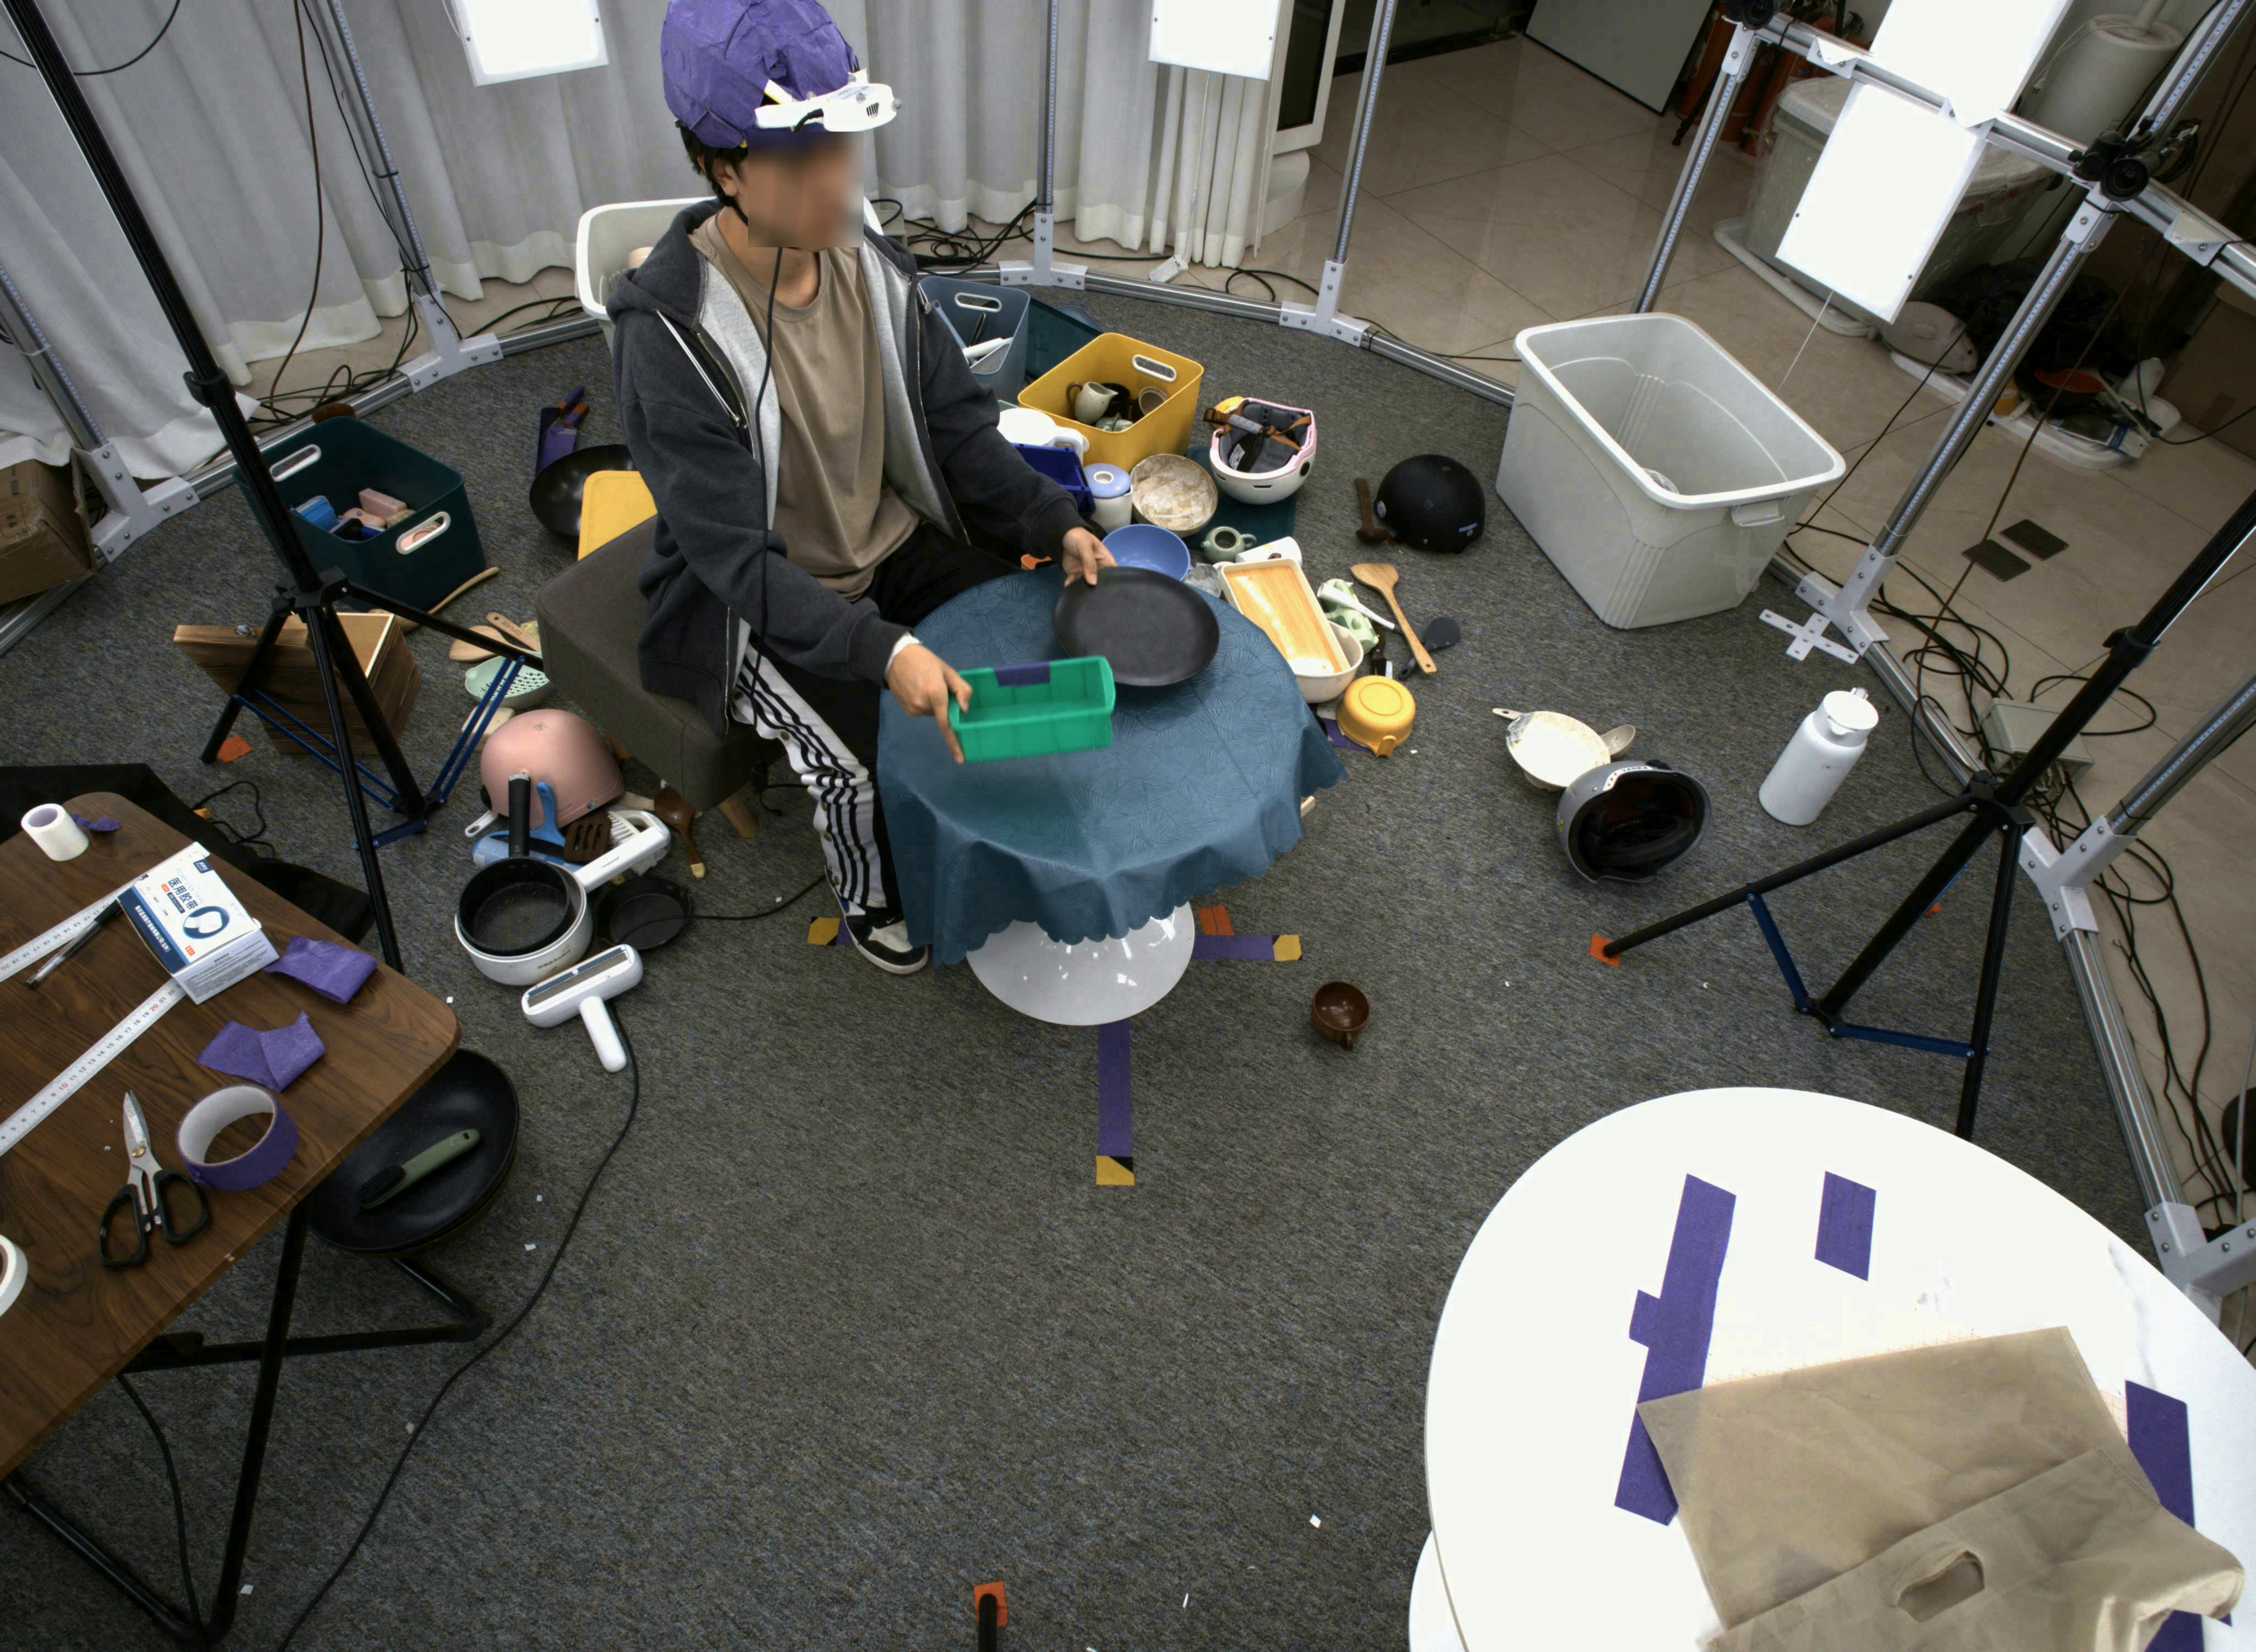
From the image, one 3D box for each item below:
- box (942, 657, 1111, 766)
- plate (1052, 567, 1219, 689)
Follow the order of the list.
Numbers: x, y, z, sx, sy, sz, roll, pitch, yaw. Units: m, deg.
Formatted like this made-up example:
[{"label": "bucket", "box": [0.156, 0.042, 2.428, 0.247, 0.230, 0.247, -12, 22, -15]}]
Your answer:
[{"label": "box", "box": [-0.124, -0.143, 1.619, 0.210, 0.064, 0.142, -8, 35, -1]}, {"label": "plate", "box": [0.010, -0.284, 1.859, 0.244, 0.023, 0.250, 4, 52, -6]}]
